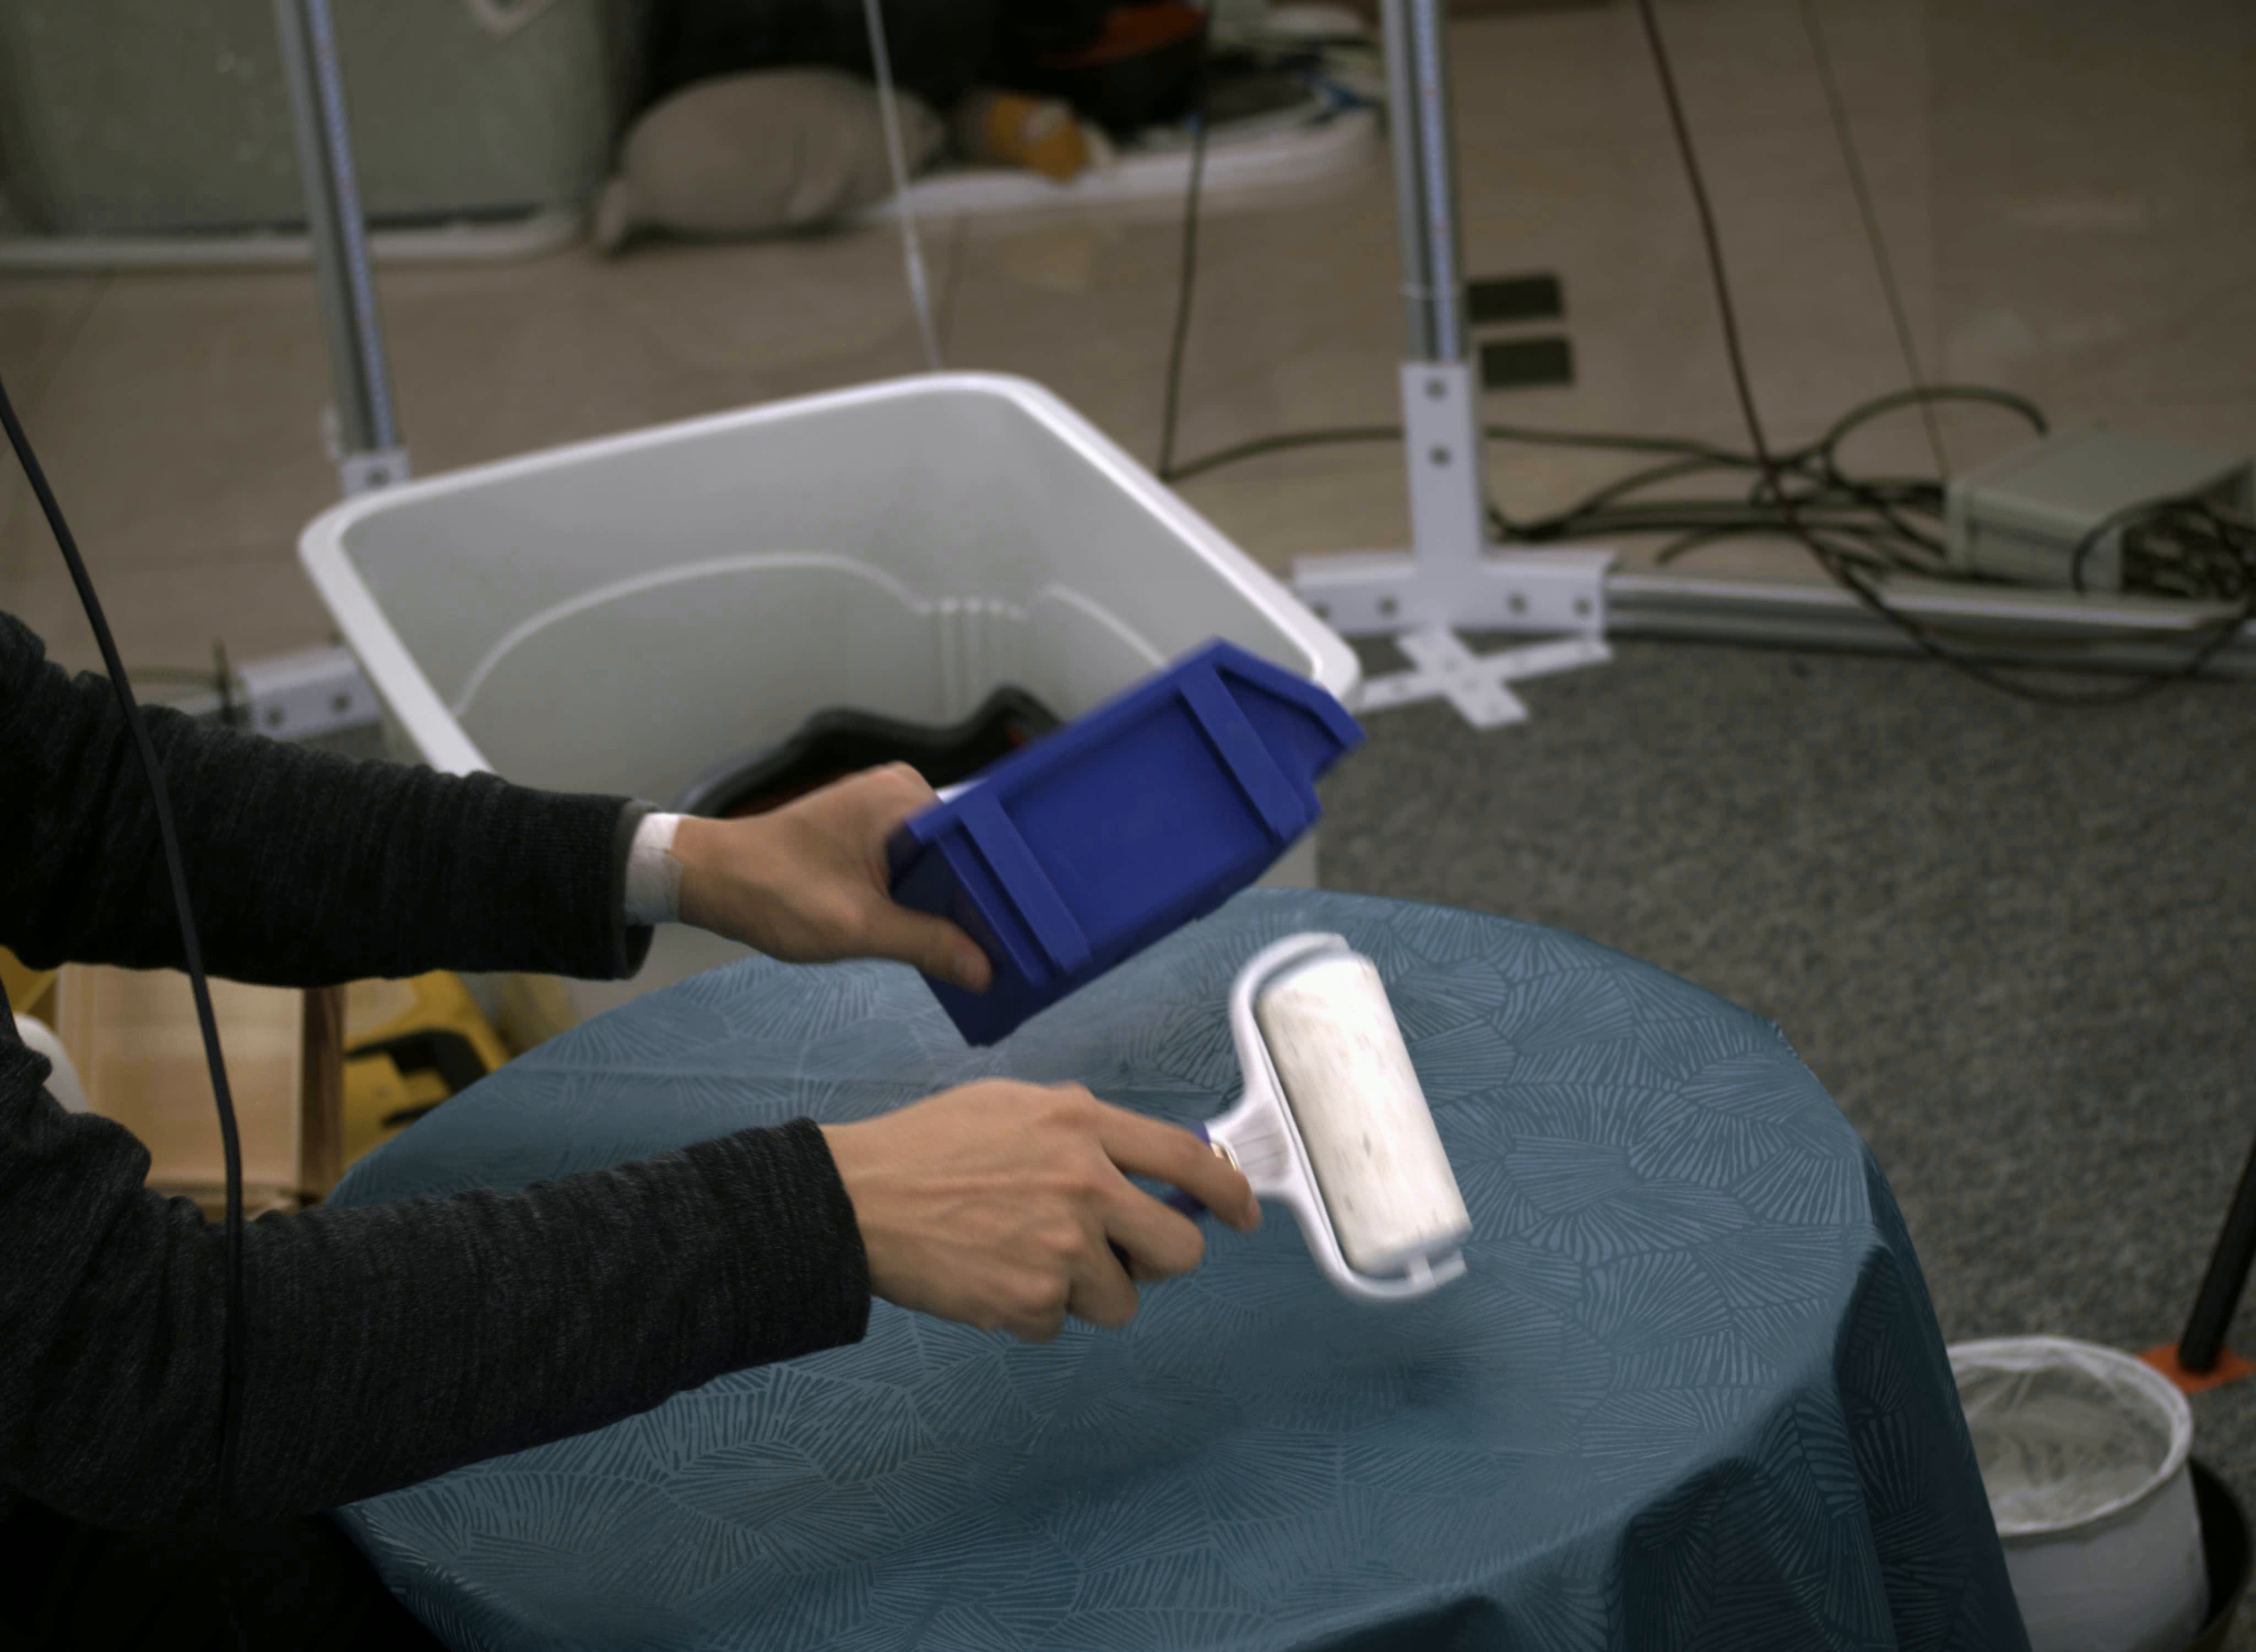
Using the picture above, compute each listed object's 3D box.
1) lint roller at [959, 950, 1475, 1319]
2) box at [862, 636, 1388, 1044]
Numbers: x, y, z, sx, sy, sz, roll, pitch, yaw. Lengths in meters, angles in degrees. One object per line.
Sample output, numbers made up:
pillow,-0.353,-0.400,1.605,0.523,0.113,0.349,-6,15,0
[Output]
lint roller,0.027,0.121,1.972,0.180,0.132,0.050,-13,-9,-27
box,0.002,0.004,2.200,0.178,0.082,0.125,-34,-3,-20
